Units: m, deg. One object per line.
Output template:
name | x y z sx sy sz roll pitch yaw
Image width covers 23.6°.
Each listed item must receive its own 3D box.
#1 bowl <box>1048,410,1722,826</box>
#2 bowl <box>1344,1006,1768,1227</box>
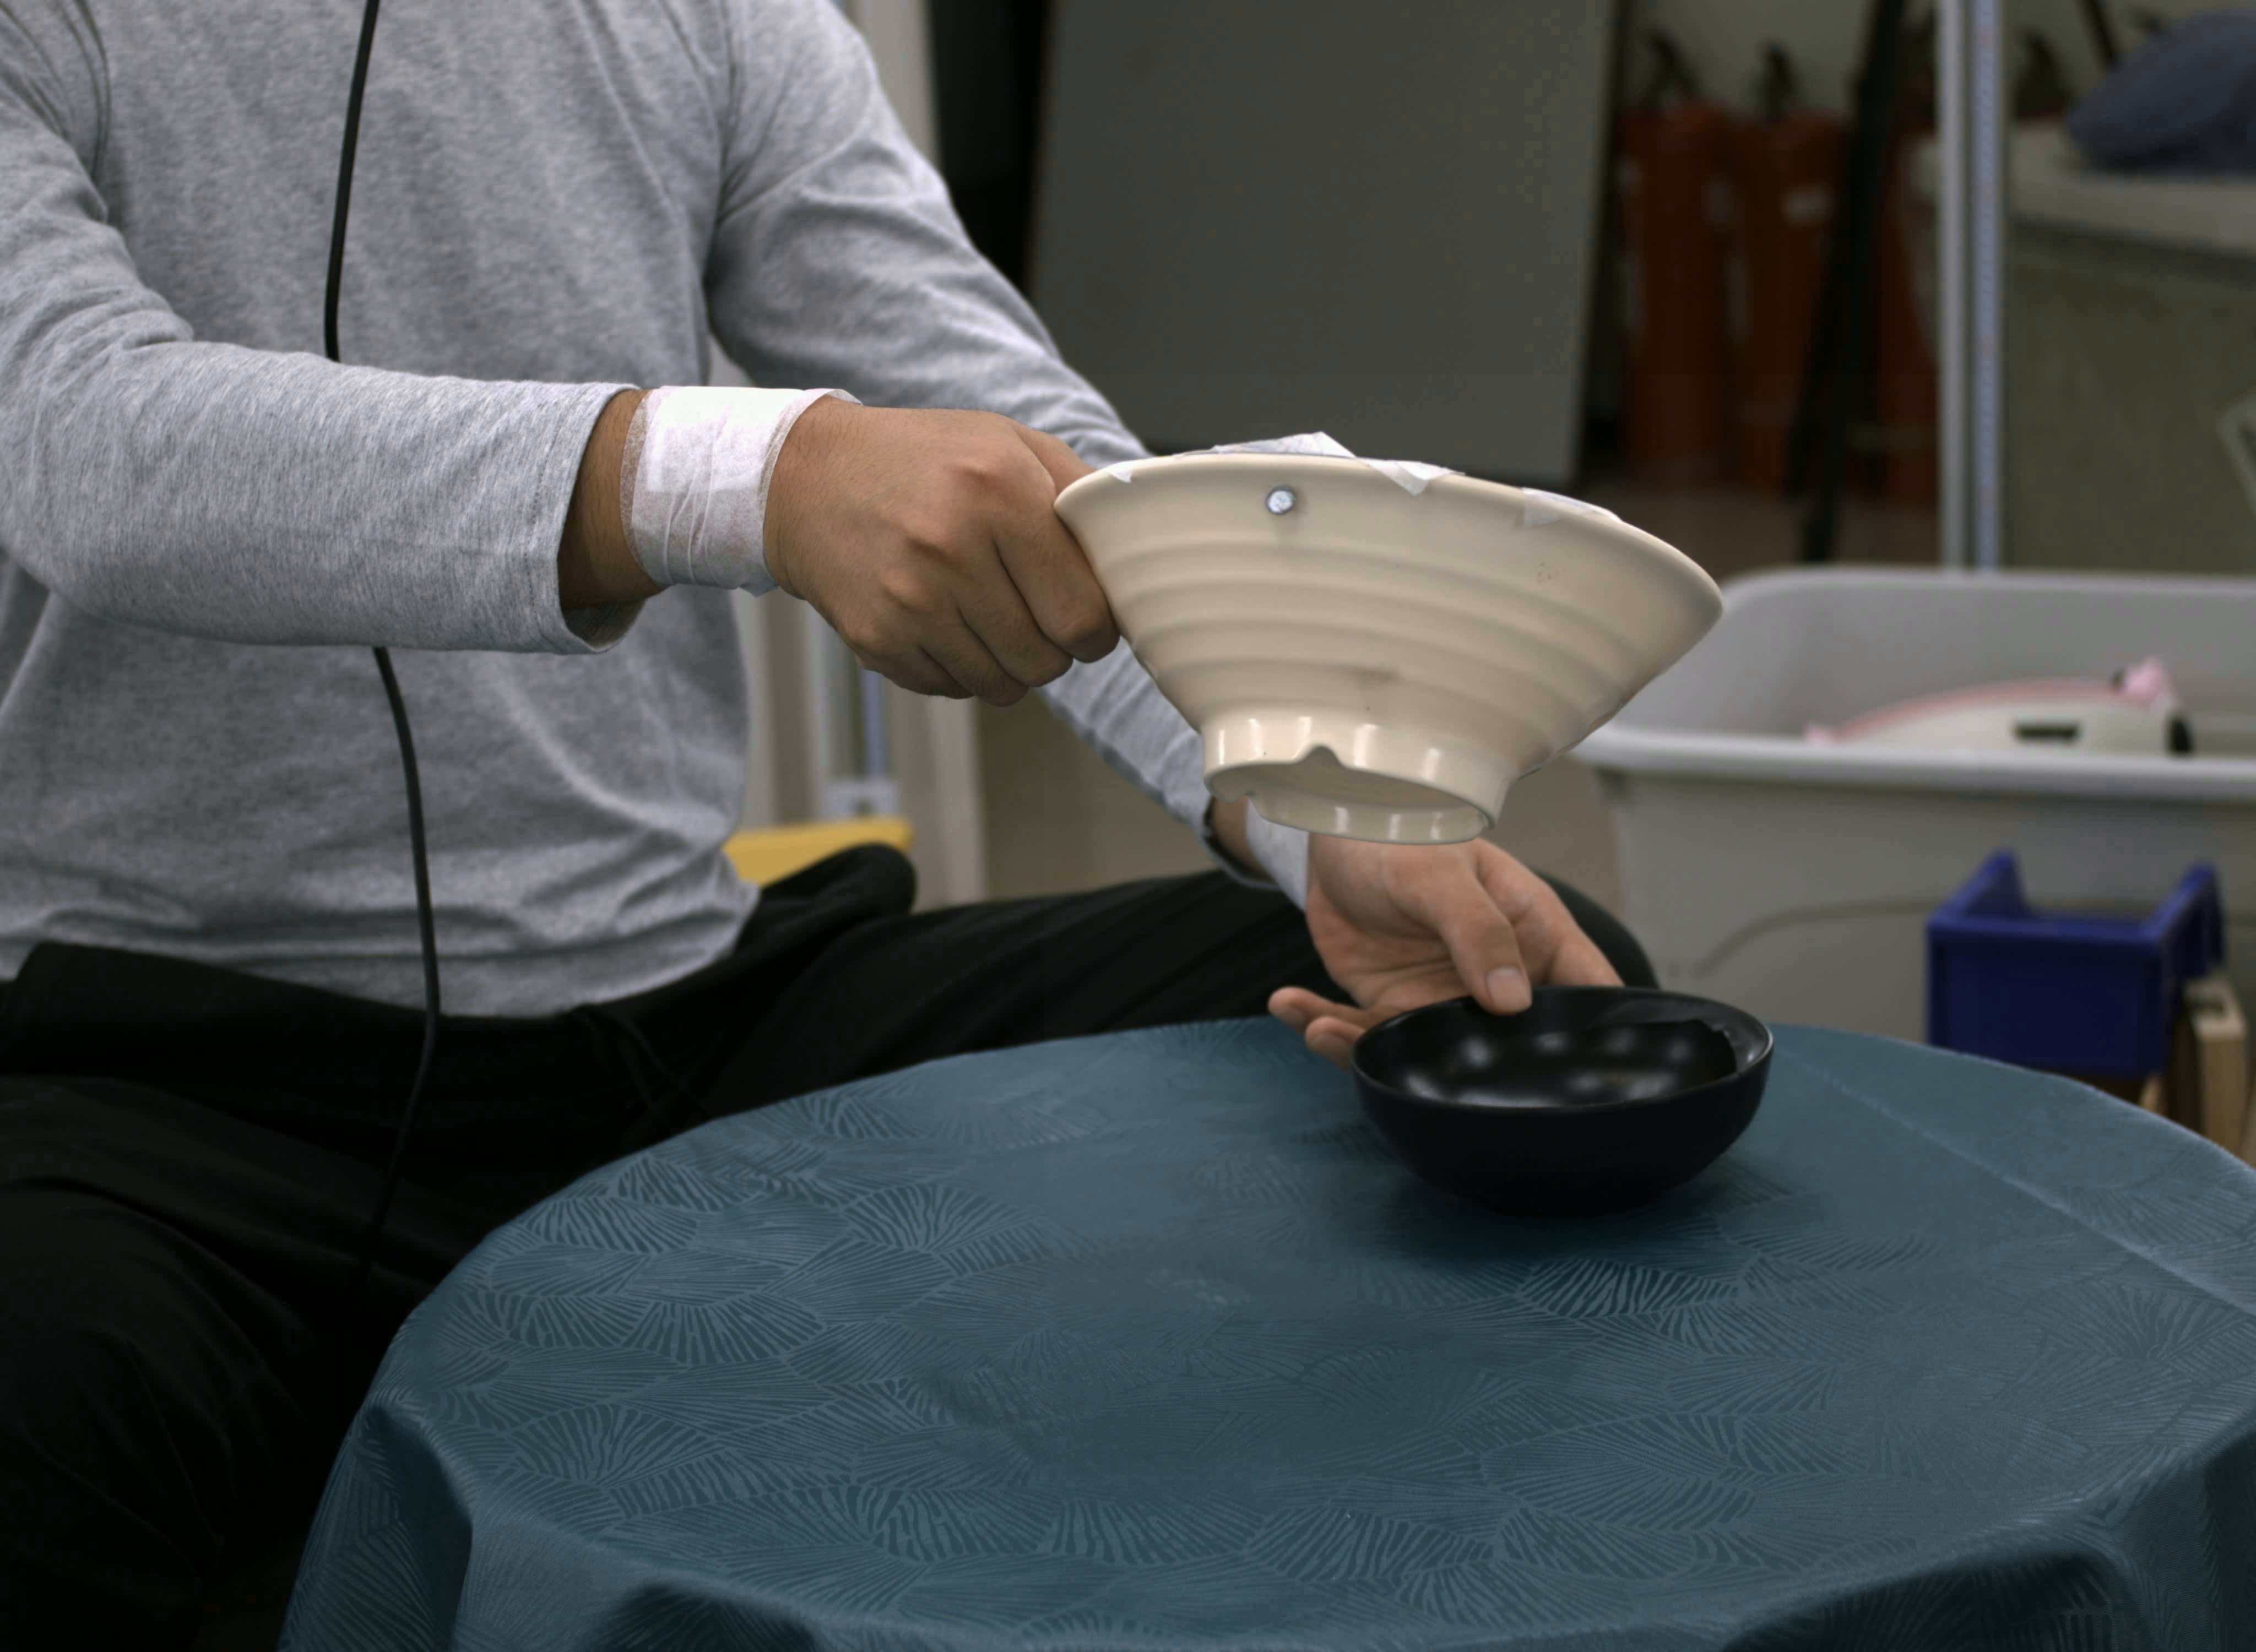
bowl | 0.070 -0.050 1.579 0.201 0.079 0.204 10 -14 2
bowl | 0.140 0.097 1.743 0.138 0.050 0.140 -6 9 0
